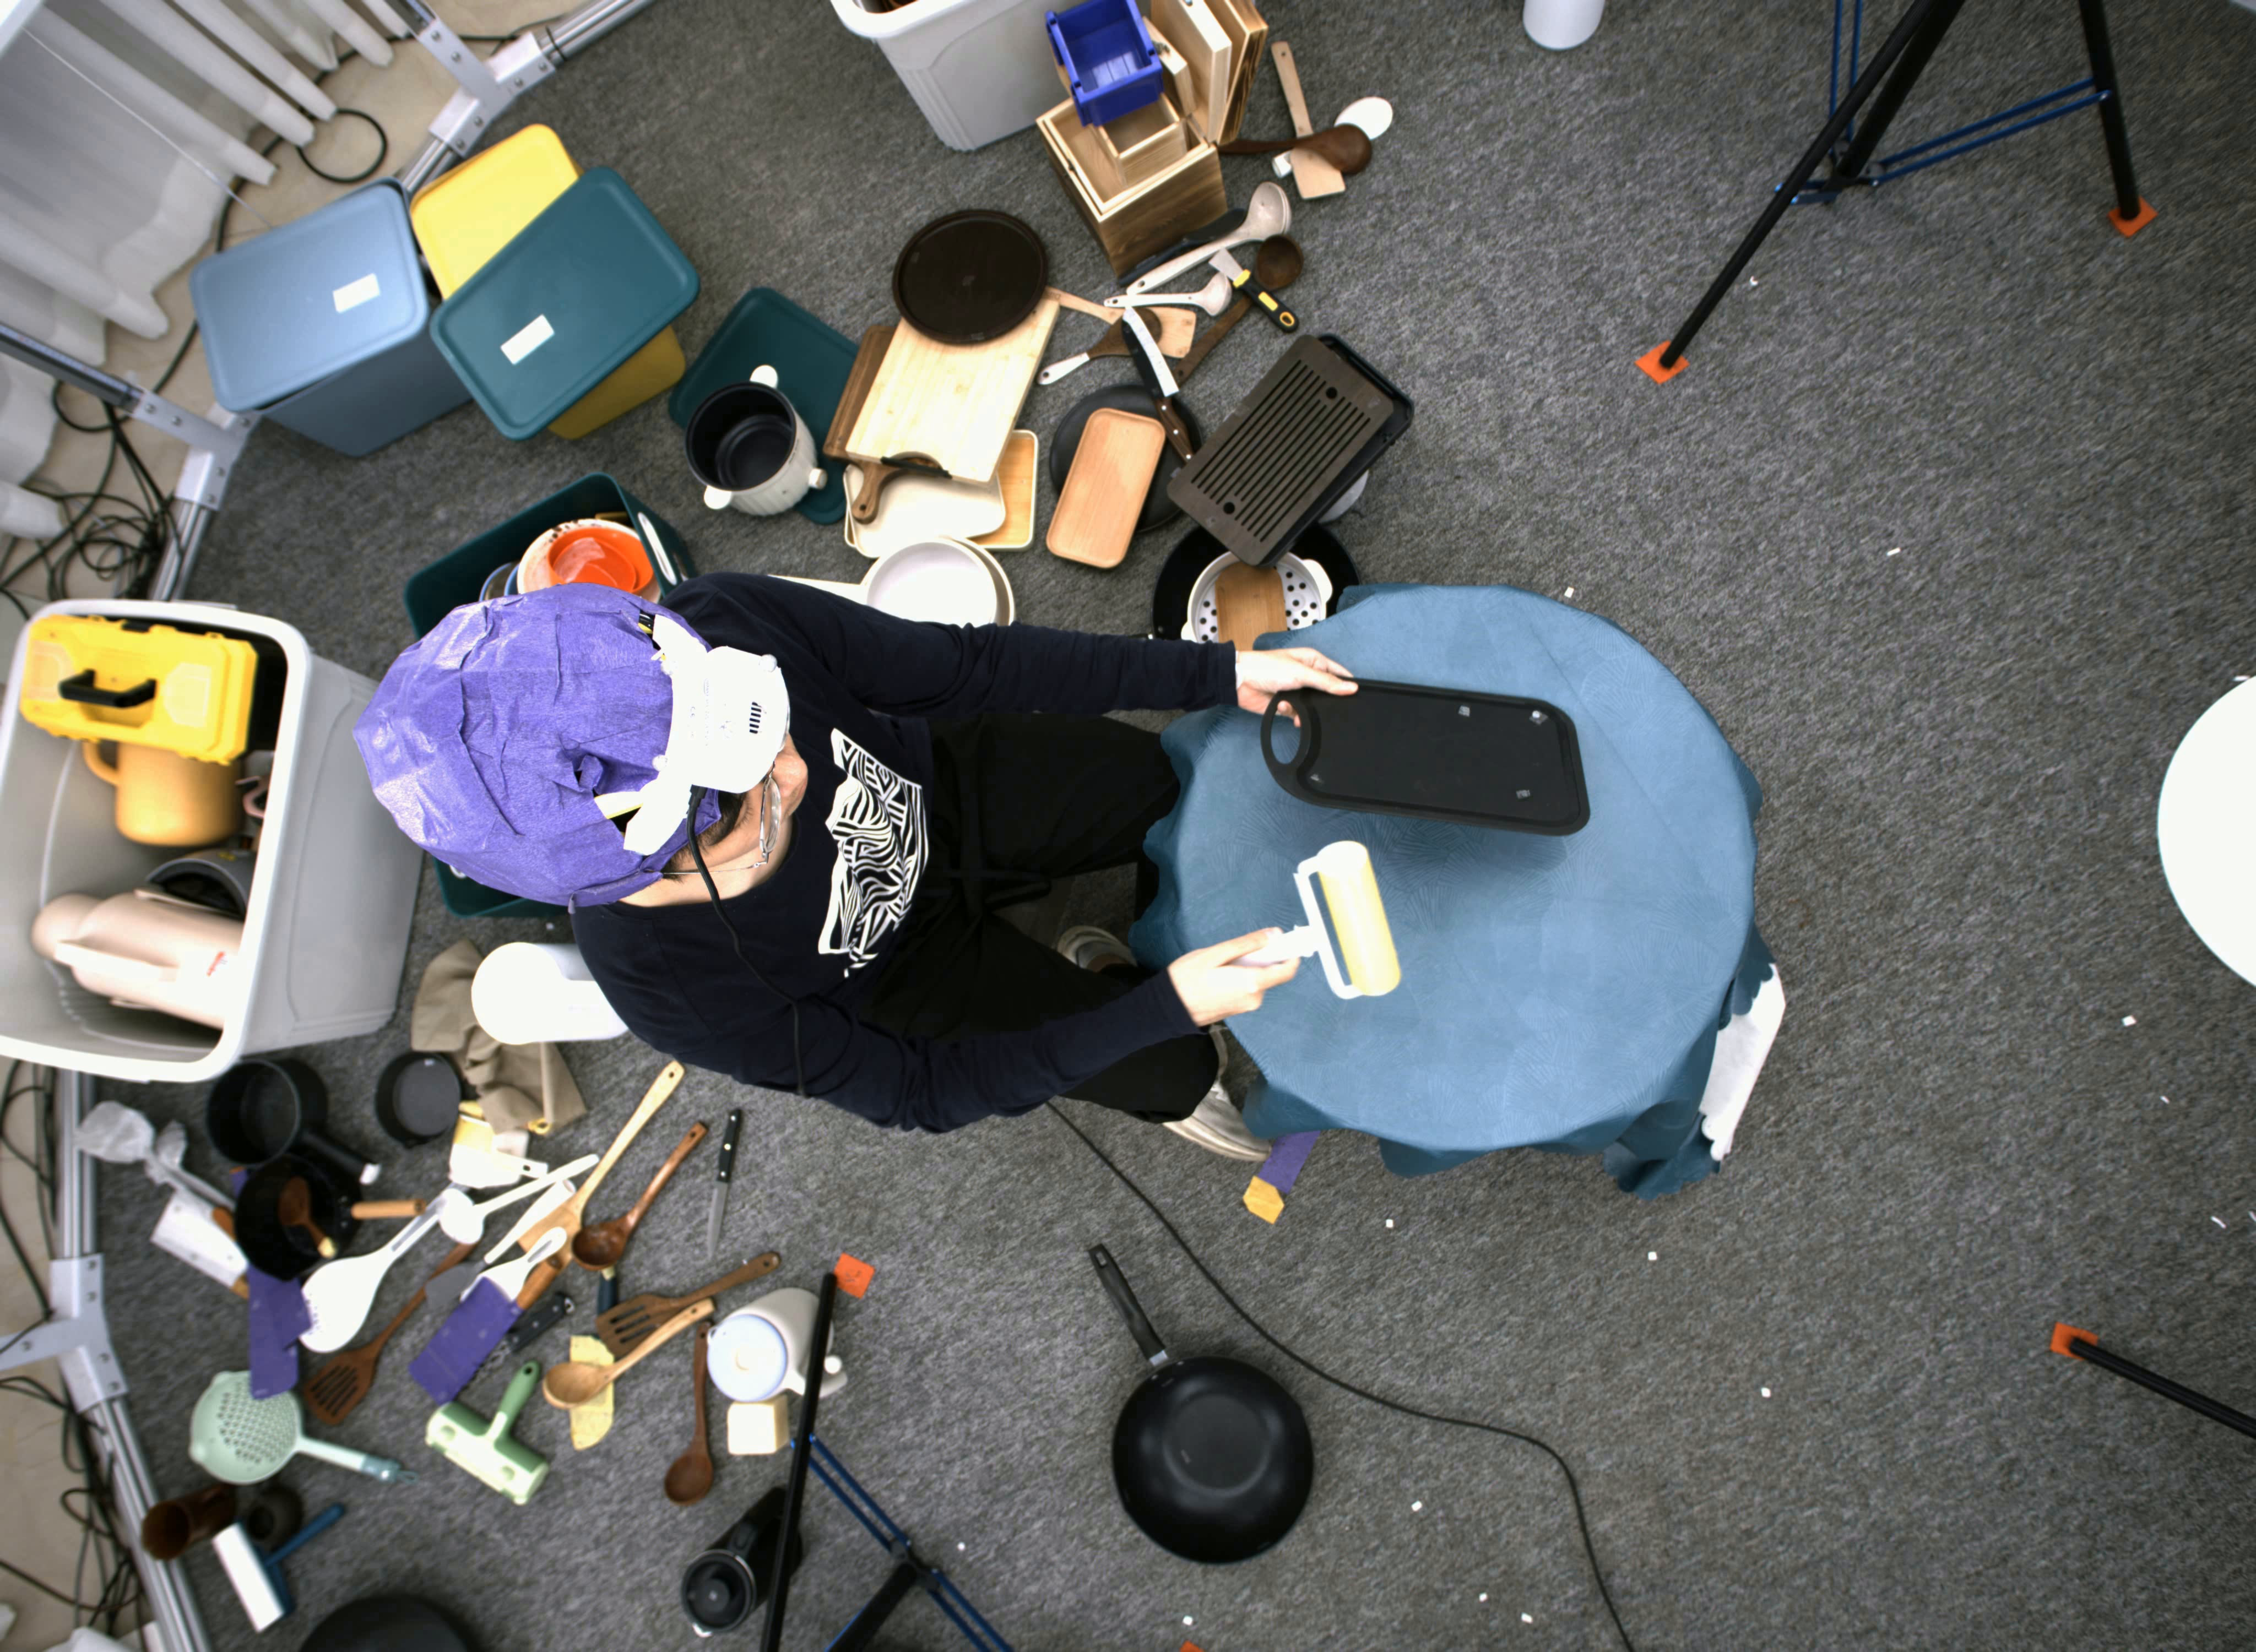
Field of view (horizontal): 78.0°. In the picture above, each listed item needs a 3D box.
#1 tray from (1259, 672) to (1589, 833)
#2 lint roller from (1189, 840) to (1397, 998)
[{"bbox_3d":[0.293,-0.081,1.373,0.326,0.010,0.205,7,45,3],"label":"tray"},{"bbox_3d":[0.151,0.120,1.311,0.192,0.050,0.177,-28,126,-4],"label":"lint roller"}]
